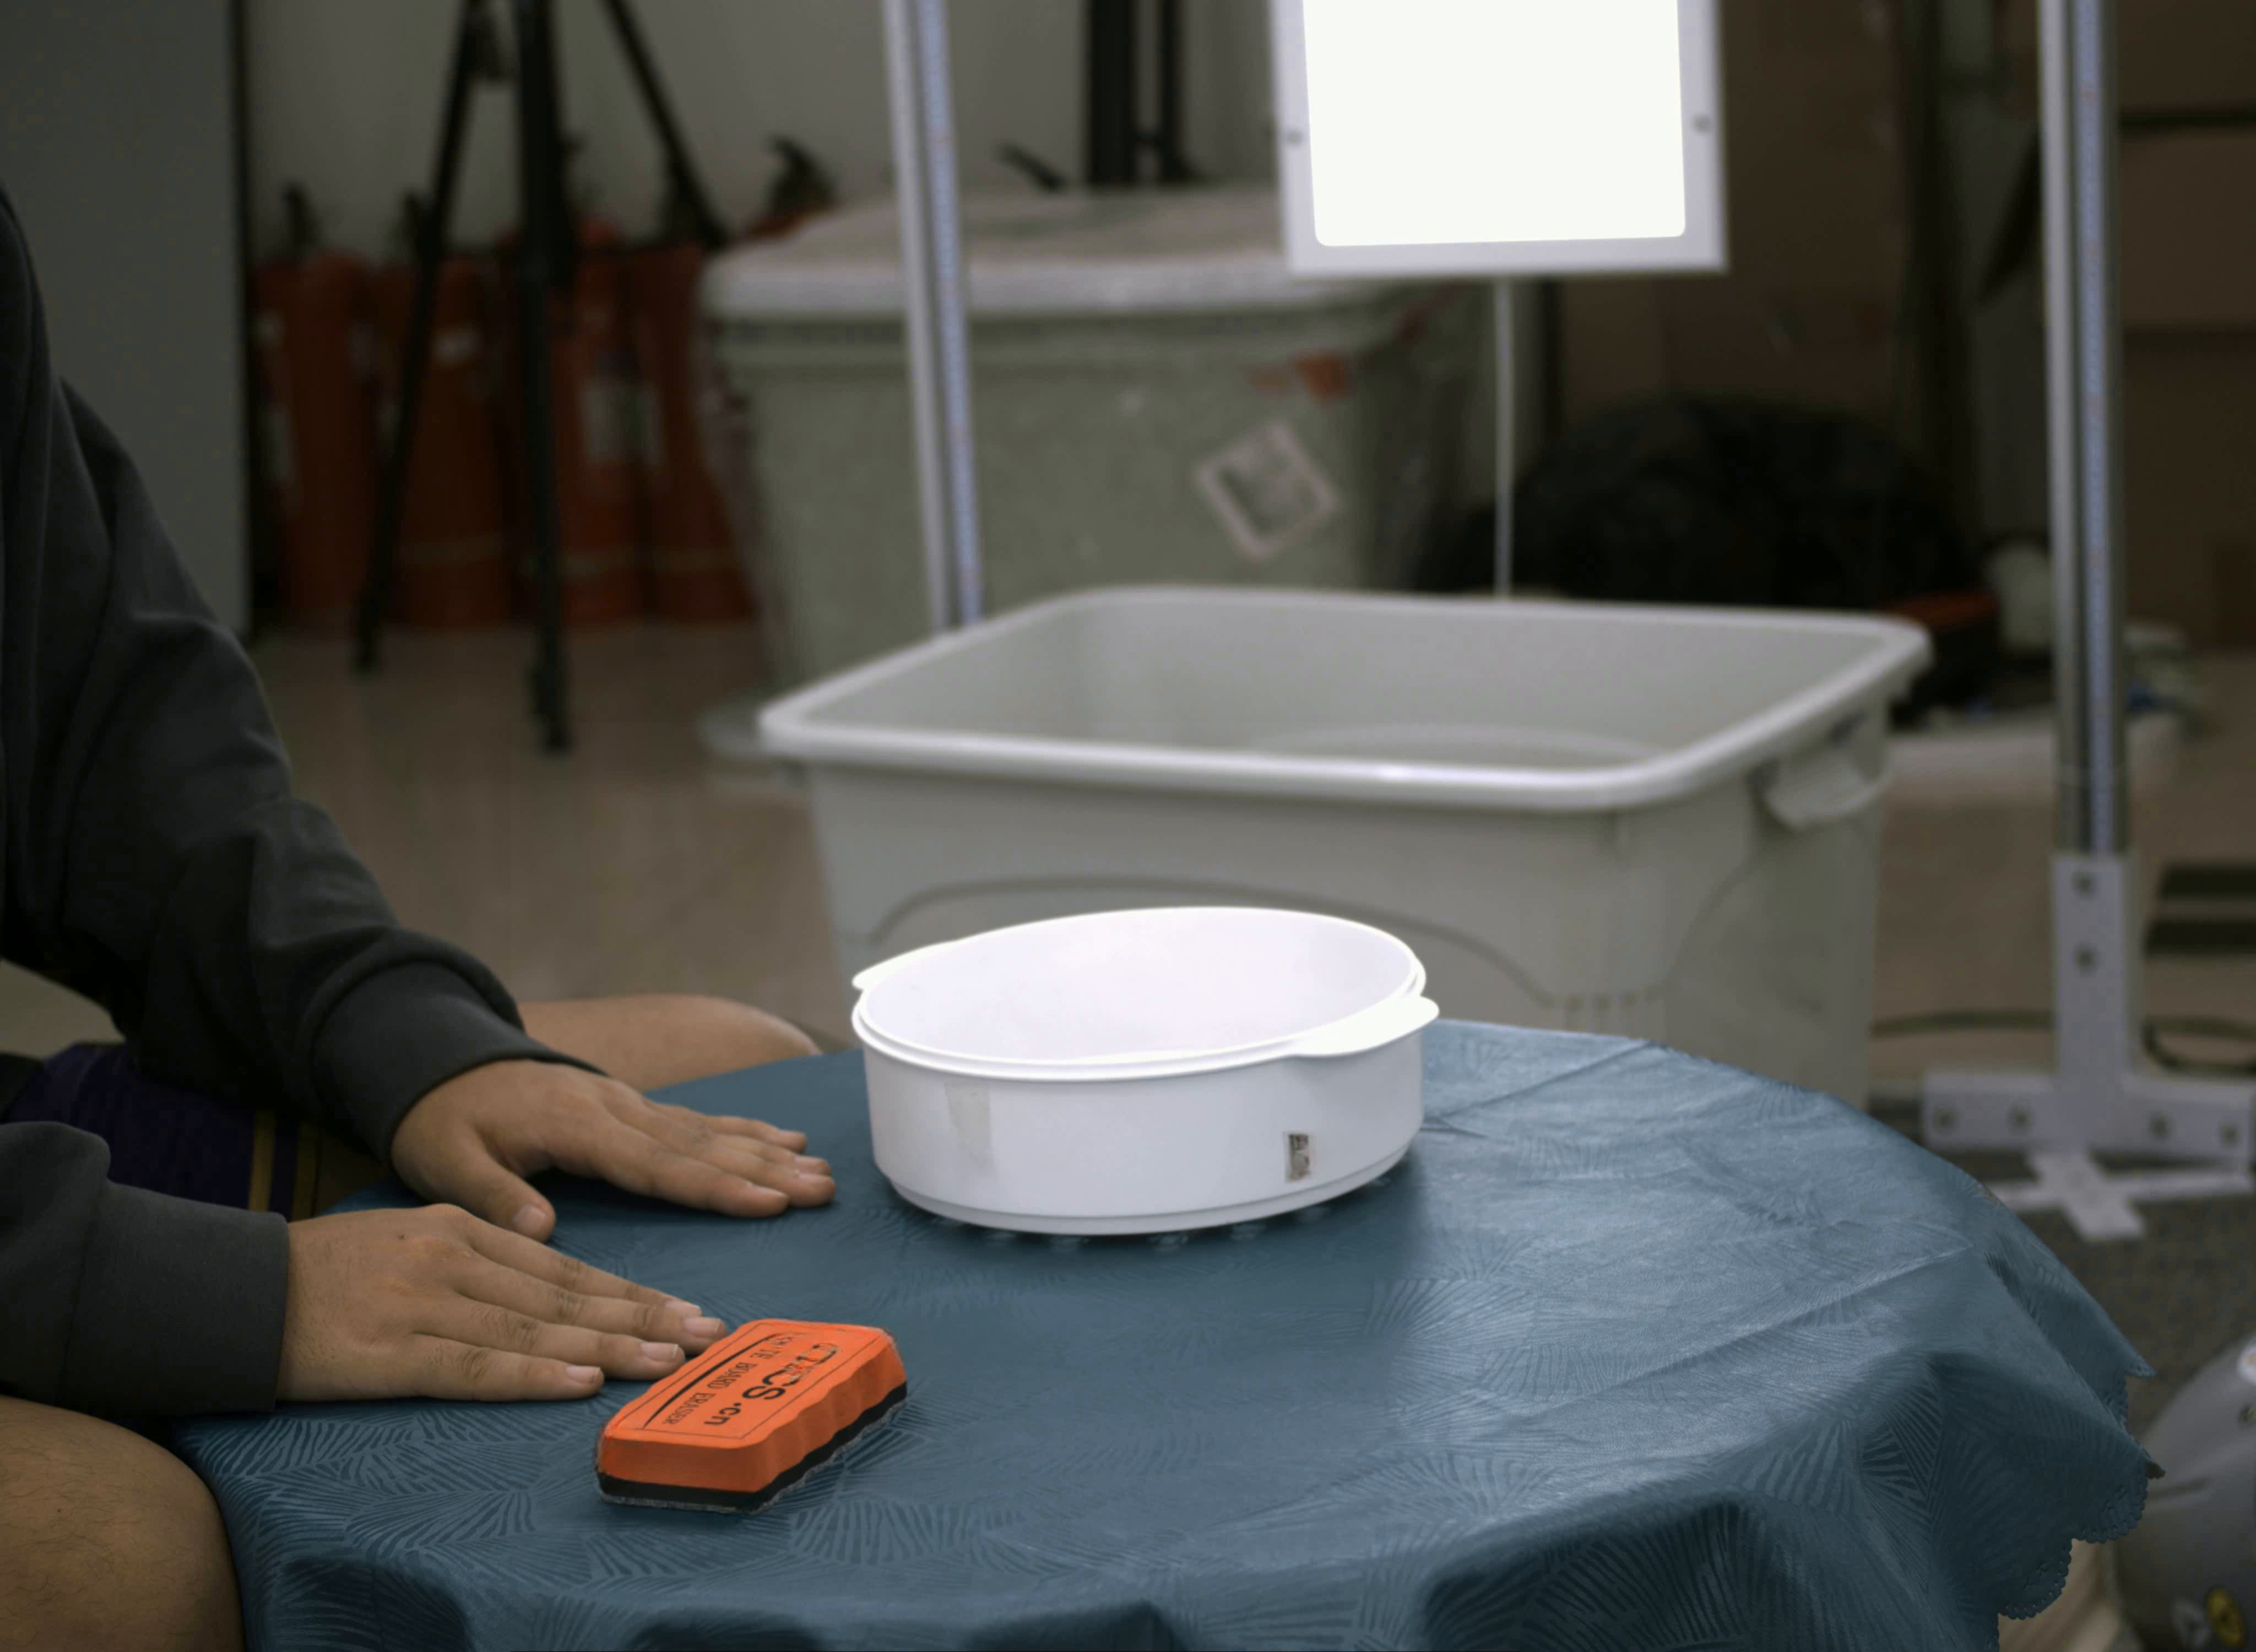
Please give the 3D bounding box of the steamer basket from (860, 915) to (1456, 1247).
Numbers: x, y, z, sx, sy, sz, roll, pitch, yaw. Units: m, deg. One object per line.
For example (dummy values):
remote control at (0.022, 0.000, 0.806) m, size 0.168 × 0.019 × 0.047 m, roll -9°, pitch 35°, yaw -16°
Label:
steamer basket at (0.010, 0.088, 1.915) m, size 0.235 × 0.069 × 0.197 m, roll 7°, pitch 19°, yaw 38°

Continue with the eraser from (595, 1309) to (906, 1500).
eraser at (-0.114, 0.175, 1.676) m, size 0.060 × 0.023 × 0.106 m, roll -5°, pitch 14°, yaw 27°
